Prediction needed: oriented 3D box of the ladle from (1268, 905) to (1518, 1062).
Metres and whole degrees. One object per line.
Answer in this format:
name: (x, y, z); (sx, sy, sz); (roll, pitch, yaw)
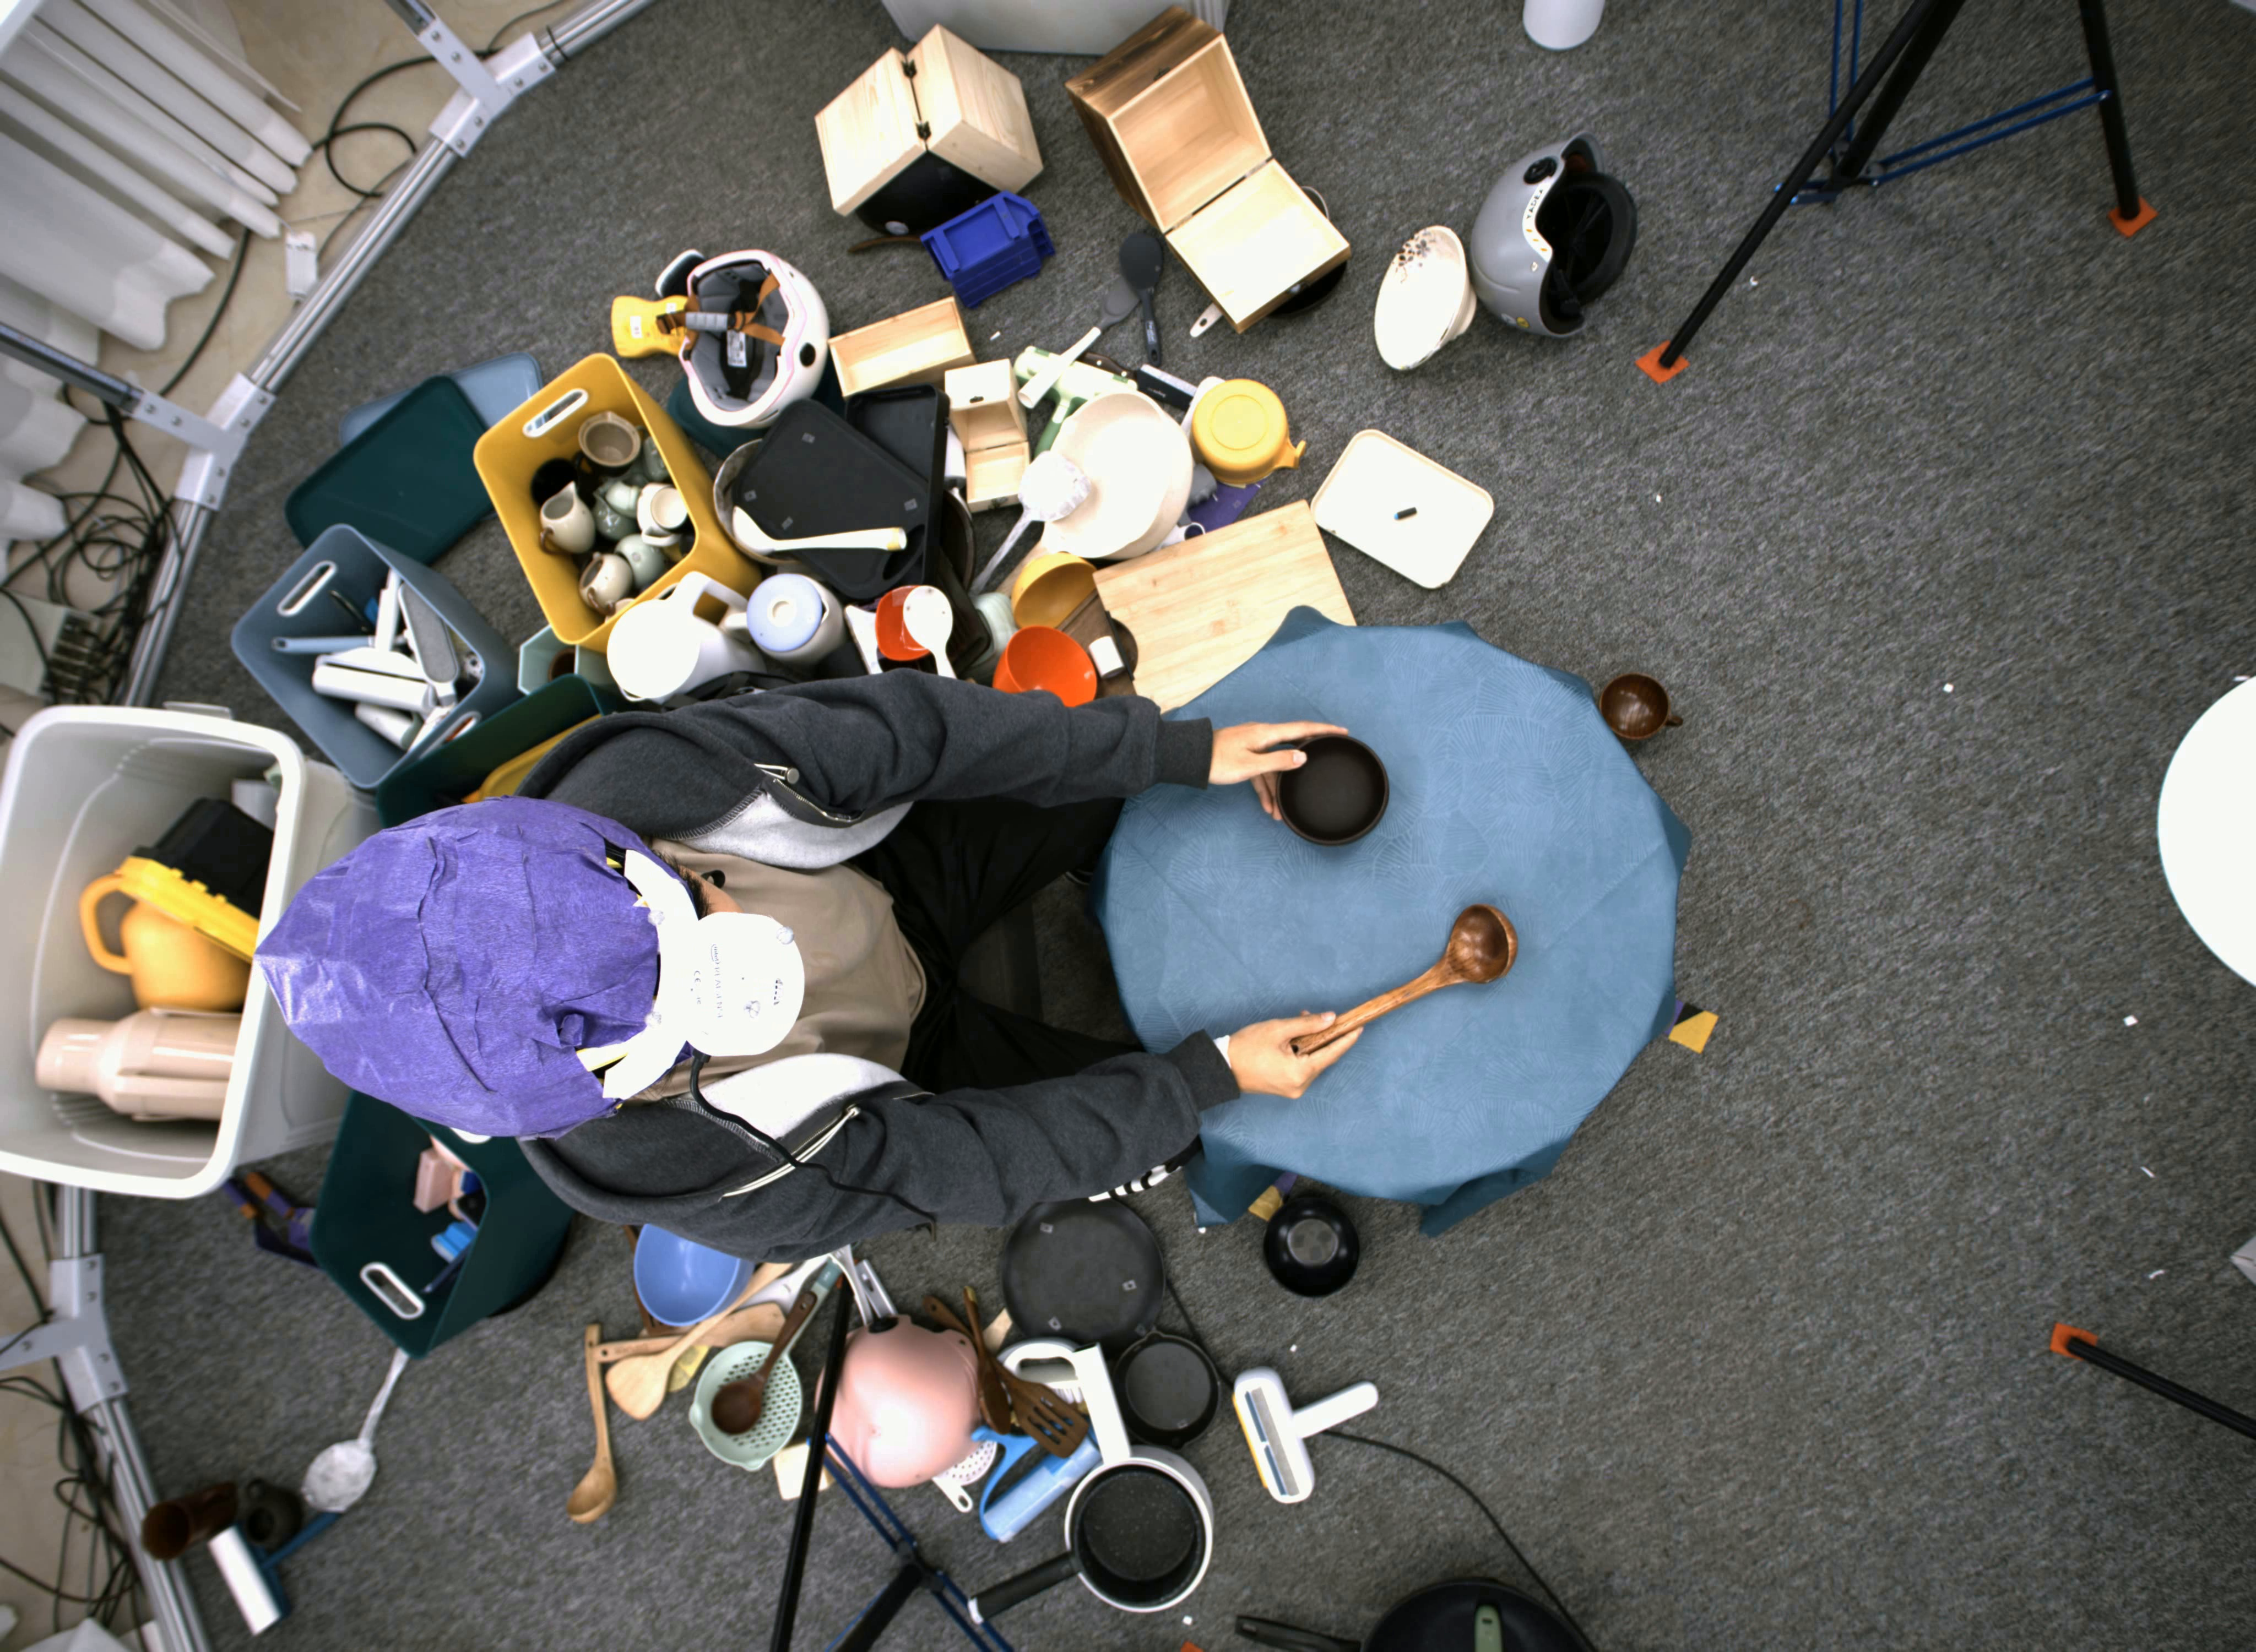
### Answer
ladle: (0.267, 0.164, 1.403); (0.274, 0.078, 0.080); (-24, 54, -1)

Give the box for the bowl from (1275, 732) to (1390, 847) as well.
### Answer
bowl: (0.213, -0.037, 1.437); (0.118, 0.070, 0.117); (-1, 88, 11)
